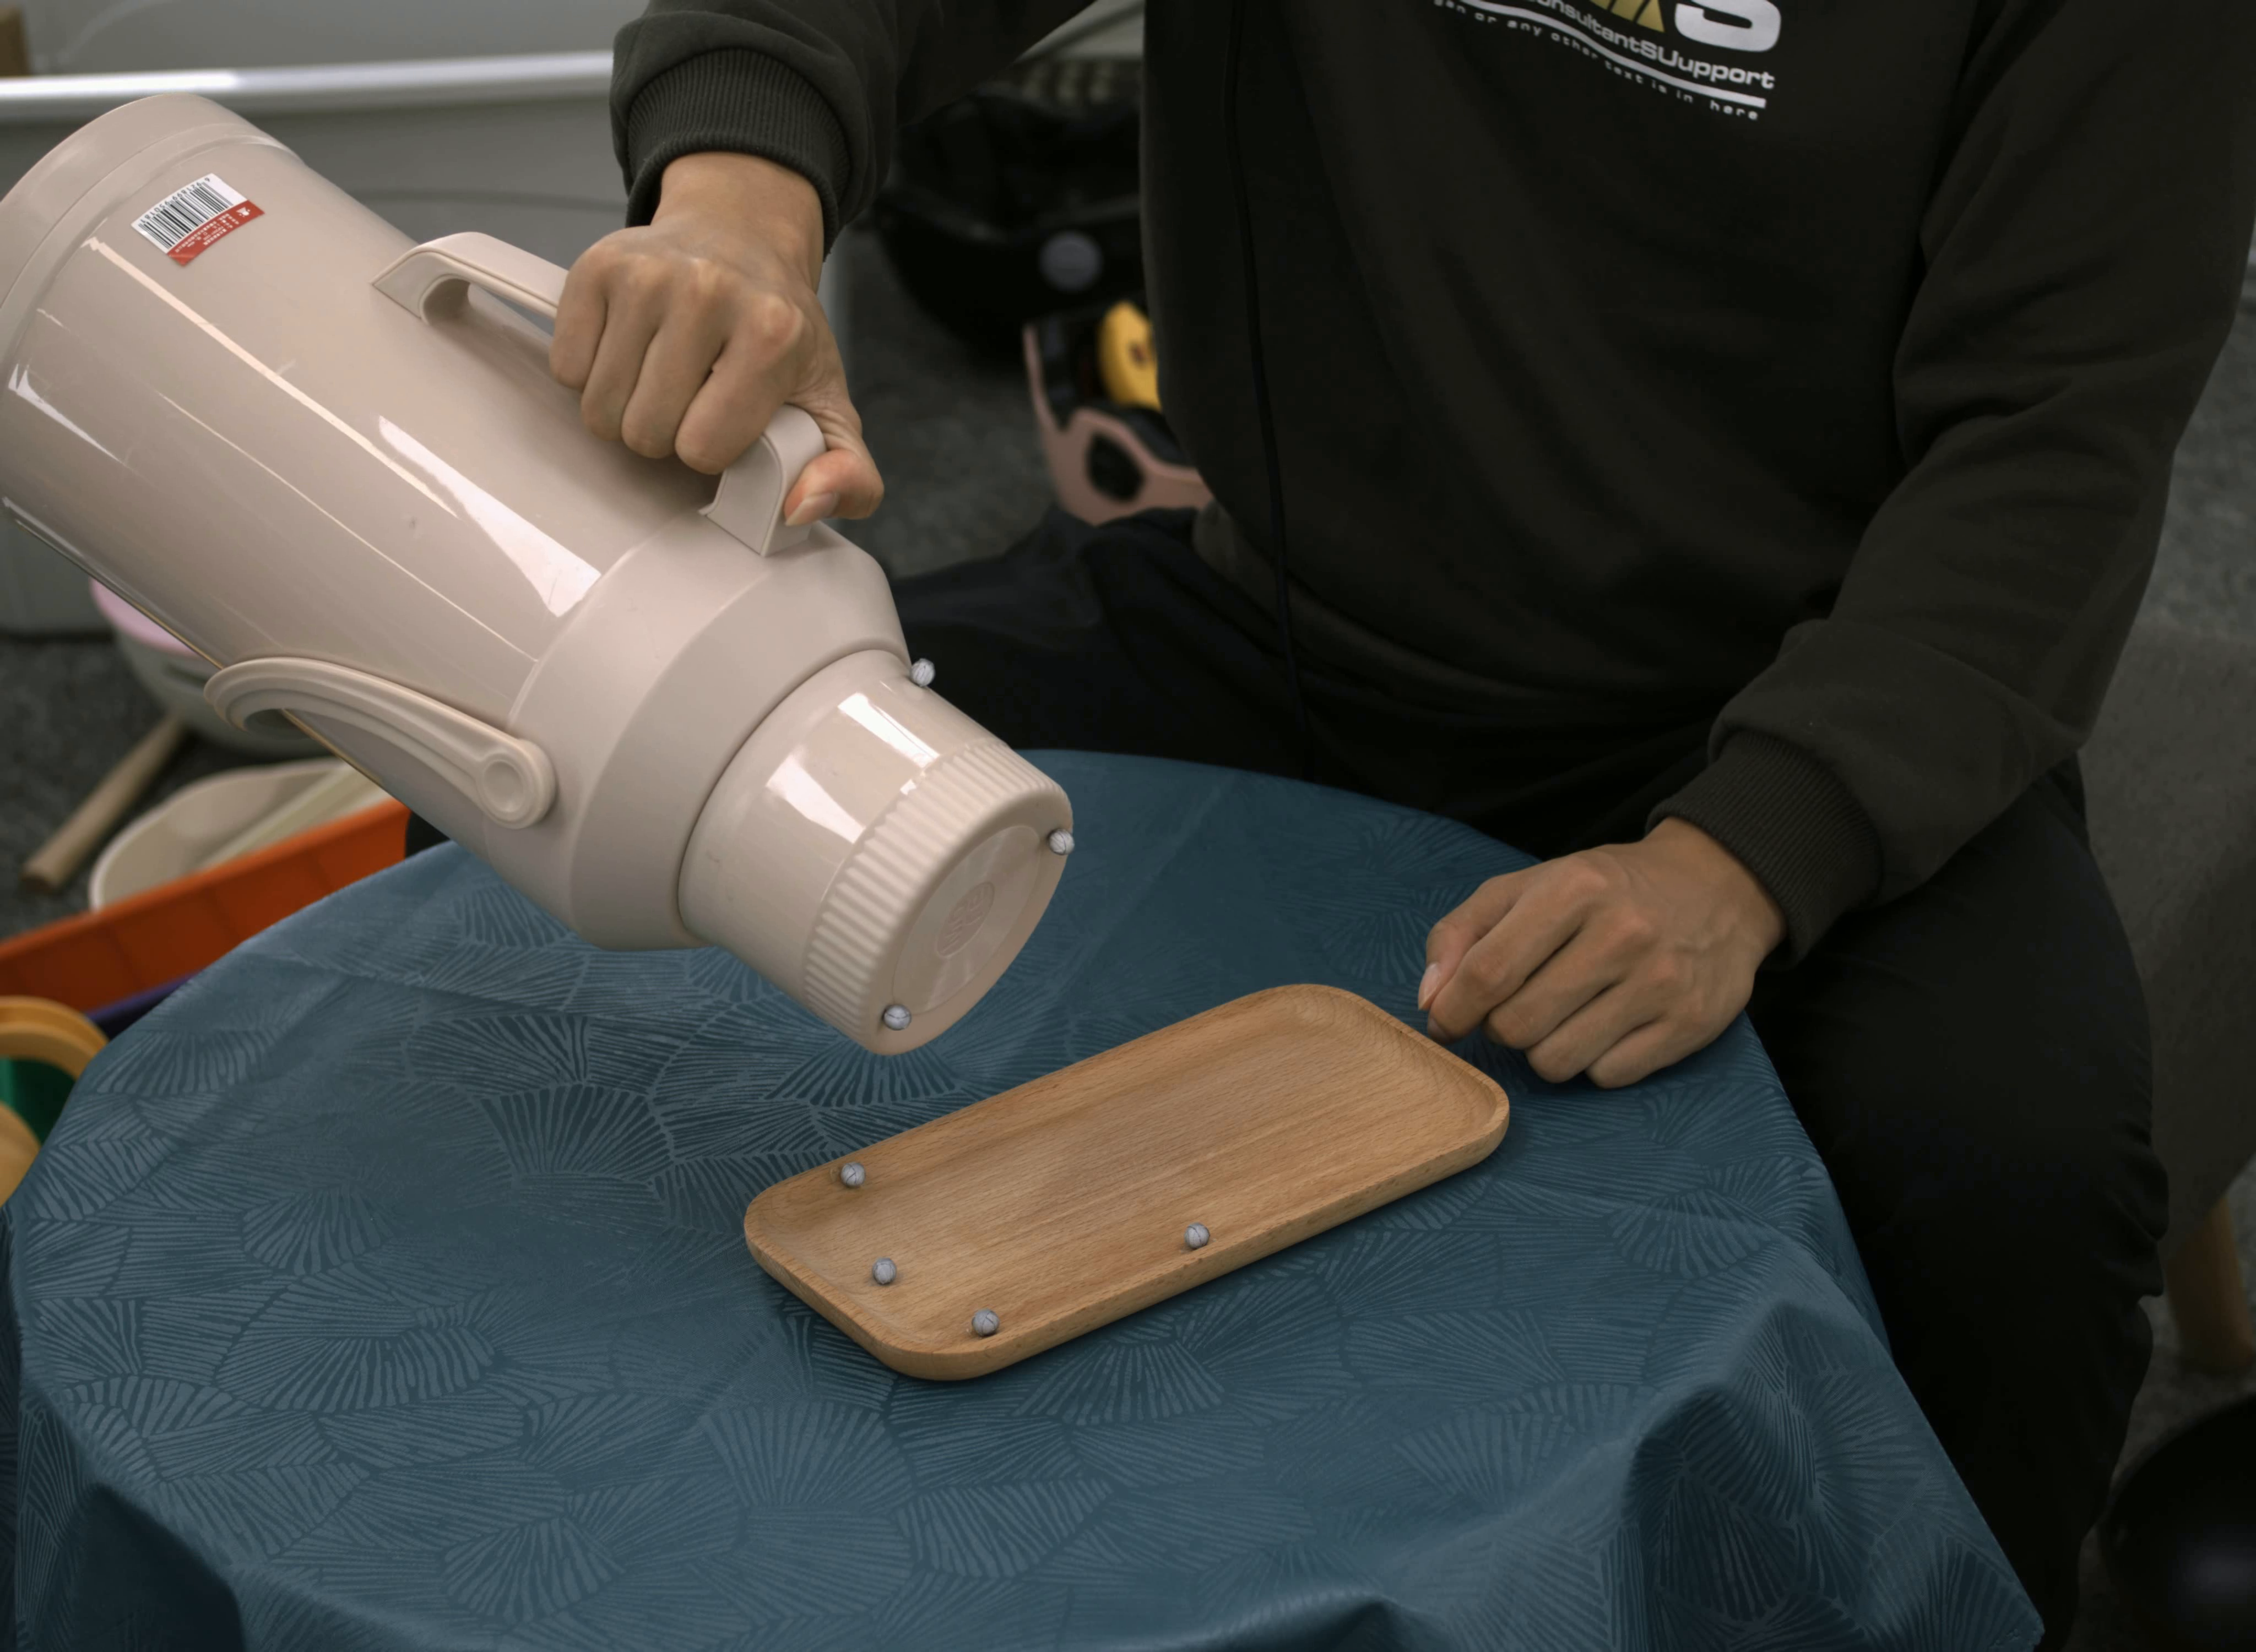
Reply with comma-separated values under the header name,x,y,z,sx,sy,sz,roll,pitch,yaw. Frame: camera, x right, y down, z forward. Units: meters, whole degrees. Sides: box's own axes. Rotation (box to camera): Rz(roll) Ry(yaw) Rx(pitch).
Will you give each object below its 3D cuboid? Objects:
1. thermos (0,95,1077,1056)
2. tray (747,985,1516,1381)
name,x,y,z,sx,sy,sz,roll,pitch,yaw
thermos,-0.197,-0.088,1.857,0.407,0.204,0.177,35,33,23
tray,0.002,0.117,1.858,0.253,0.022,0.131,-19,34,-30
